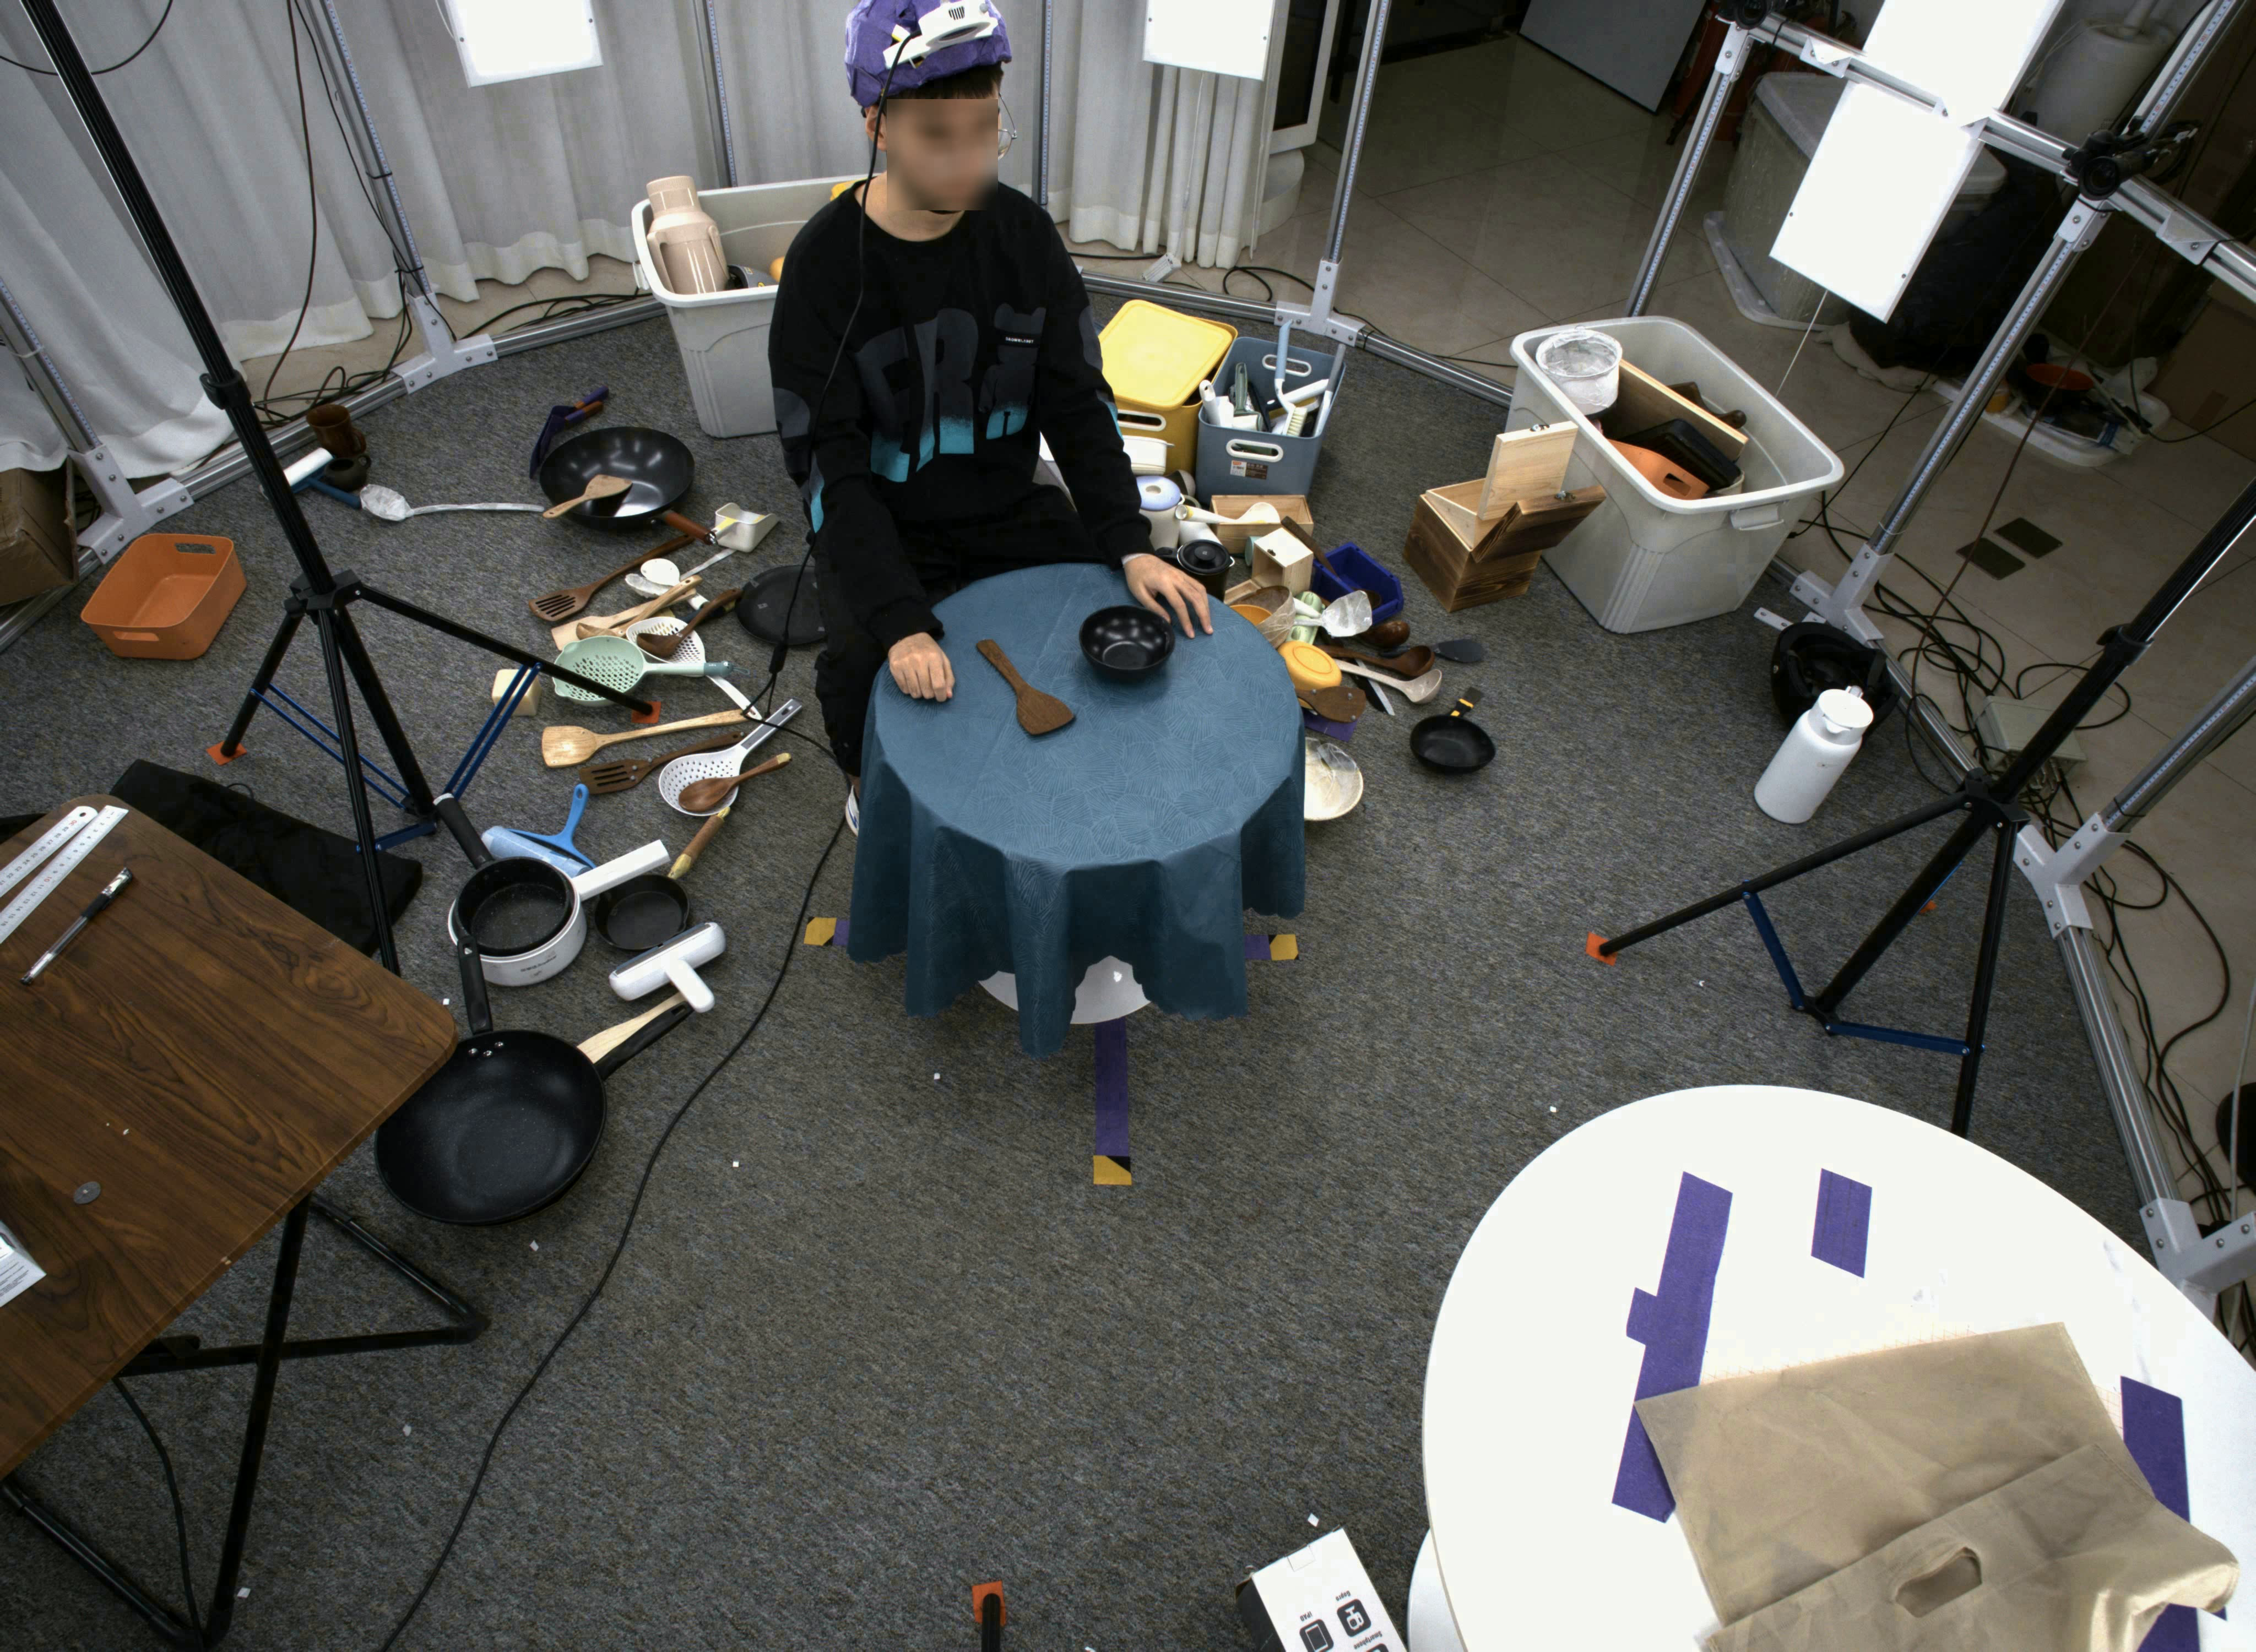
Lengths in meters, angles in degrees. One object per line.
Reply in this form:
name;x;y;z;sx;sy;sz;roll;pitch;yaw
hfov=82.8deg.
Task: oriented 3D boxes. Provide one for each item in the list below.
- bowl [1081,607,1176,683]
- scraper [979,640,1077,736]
bowl;0.001;-0.256;1.876;0.140;0.048;0.143;0;50;0
scraper;-0.154;-0.202;1.845;0.076;0.010;0.215;-23;53;-23
